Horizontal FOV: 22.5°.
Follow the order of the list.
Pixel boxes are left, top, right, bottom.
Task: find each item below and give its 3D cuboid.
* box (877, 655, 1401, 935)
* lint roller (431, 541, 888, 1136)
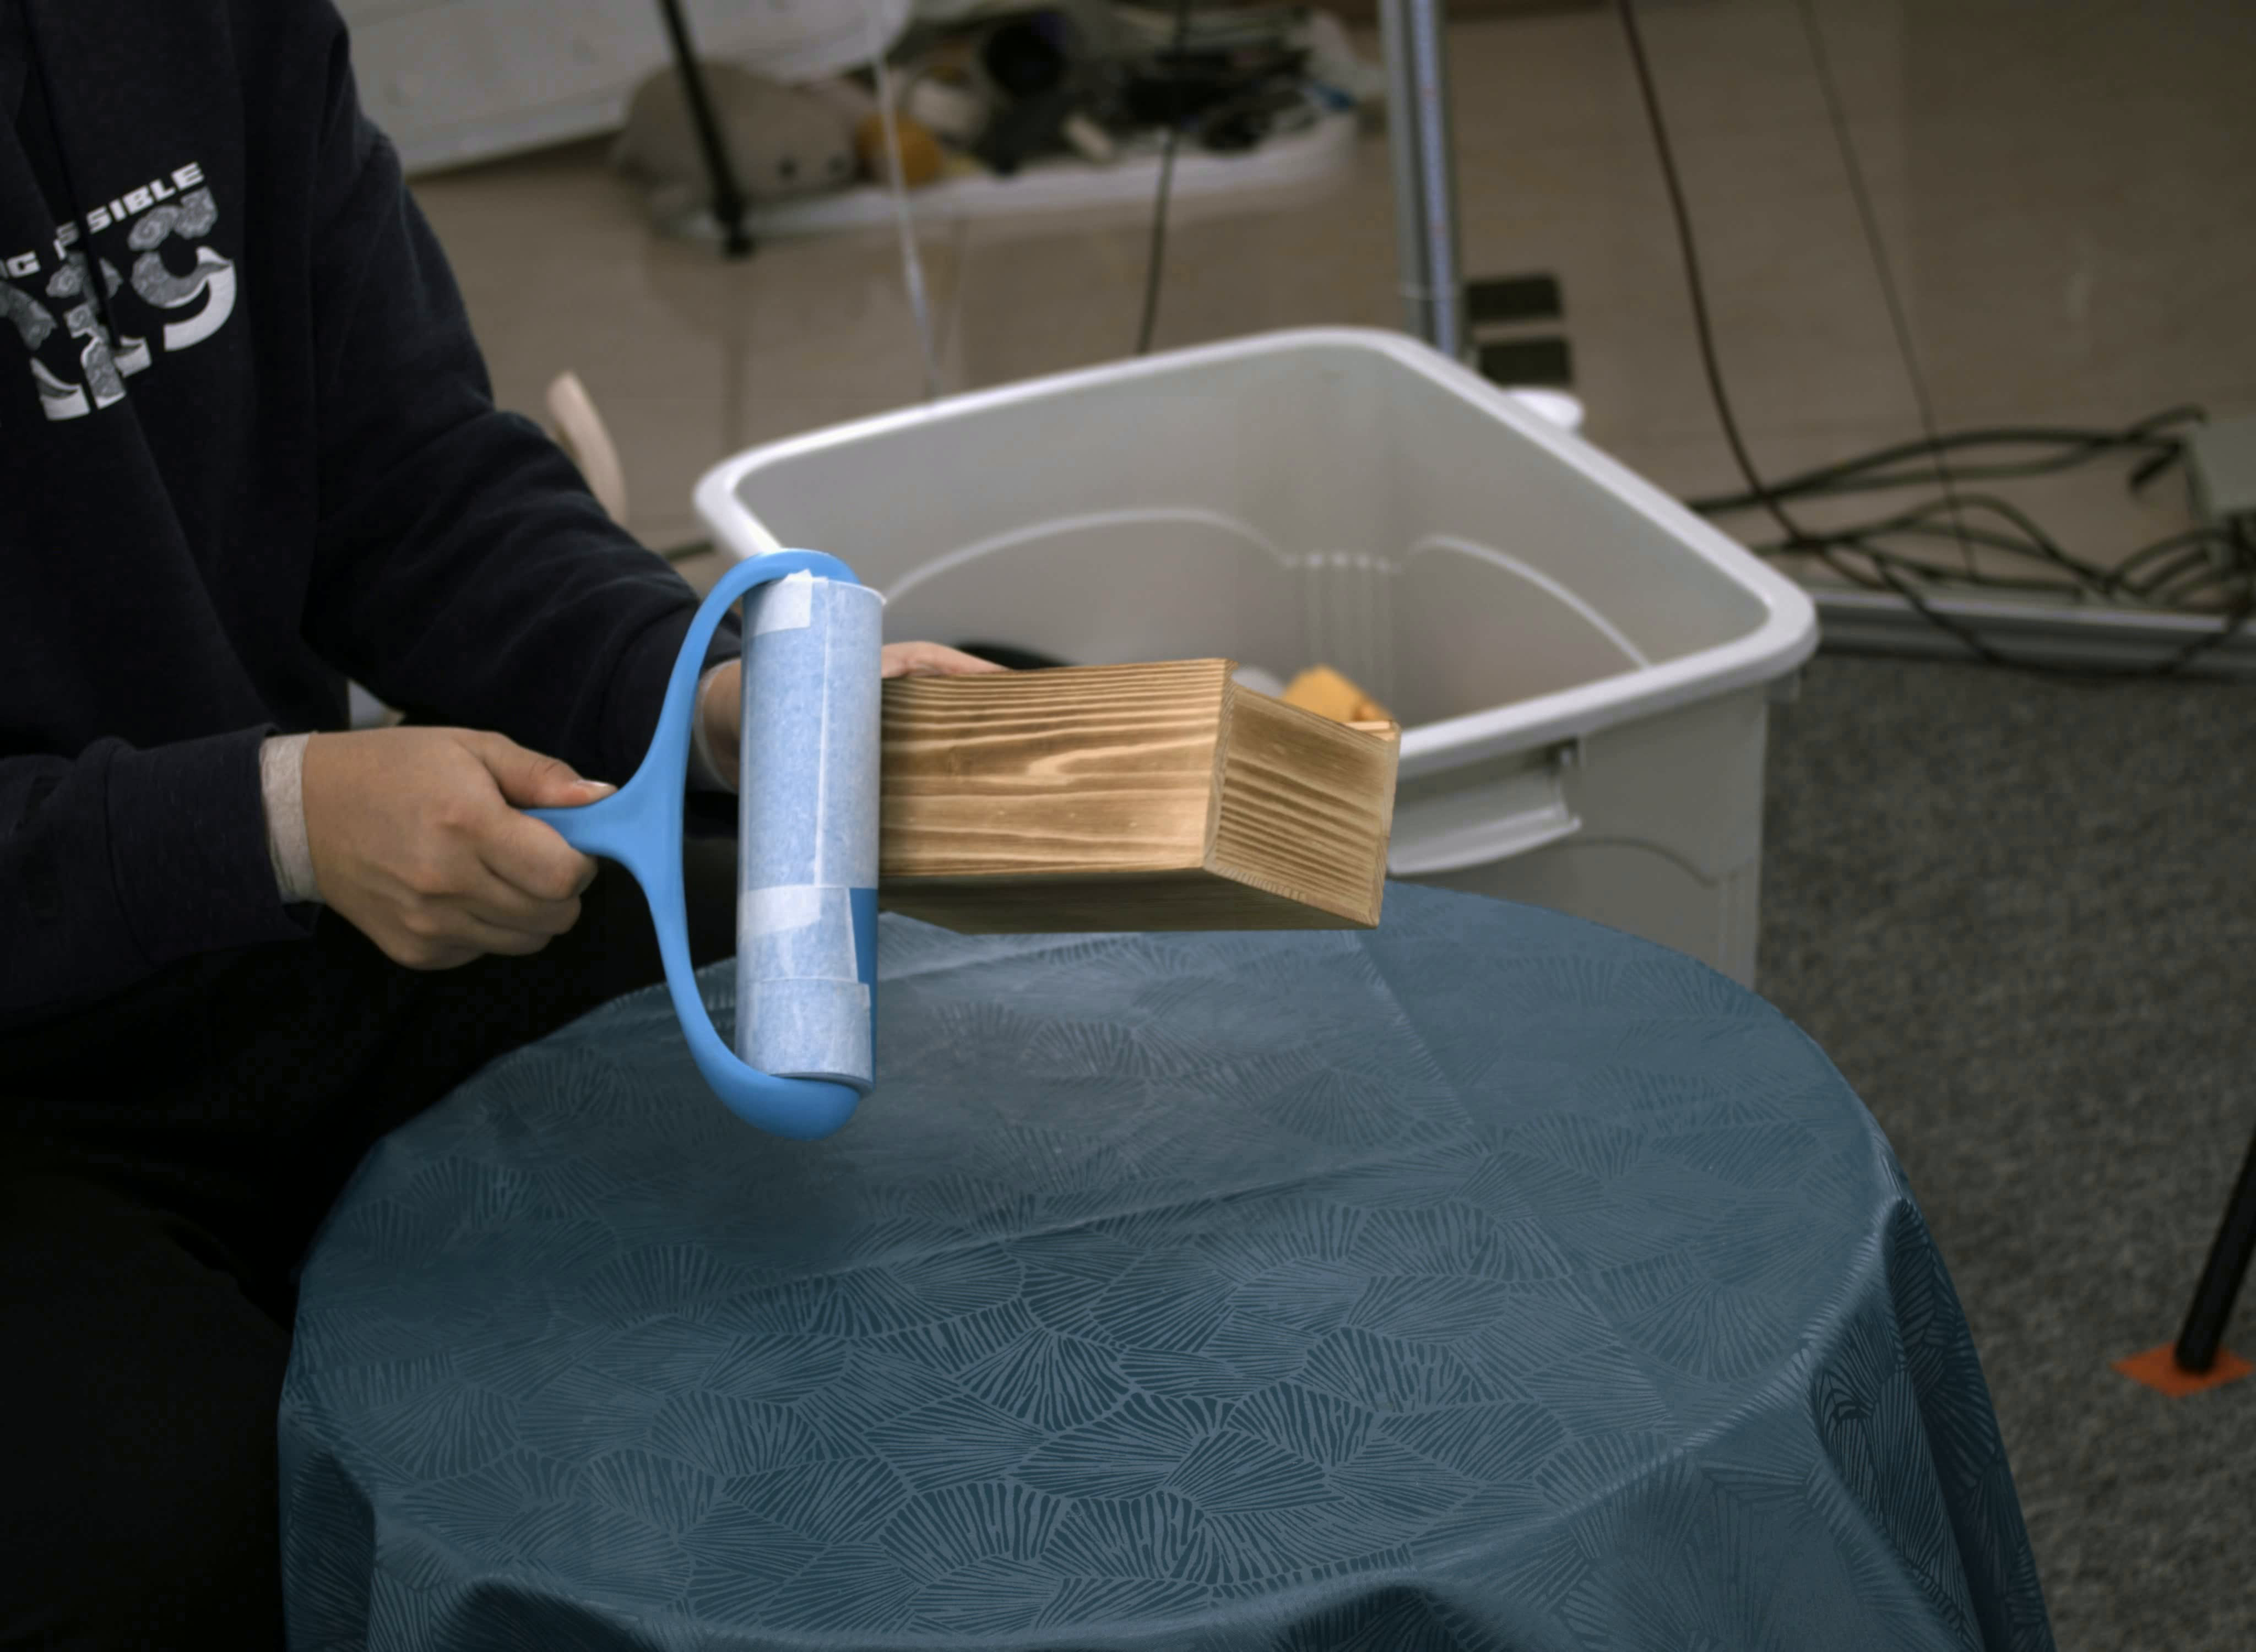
[{"bbox_3d":[-0.015,-0.009,2.150,0.211,0.080,0.108,-1,-13,40],"label":"box"},{"bbox_3d":[-0.178,0.006,2.131,0.180,0.227,0.068,-3,-12,3],"label":"lint roller"}]
